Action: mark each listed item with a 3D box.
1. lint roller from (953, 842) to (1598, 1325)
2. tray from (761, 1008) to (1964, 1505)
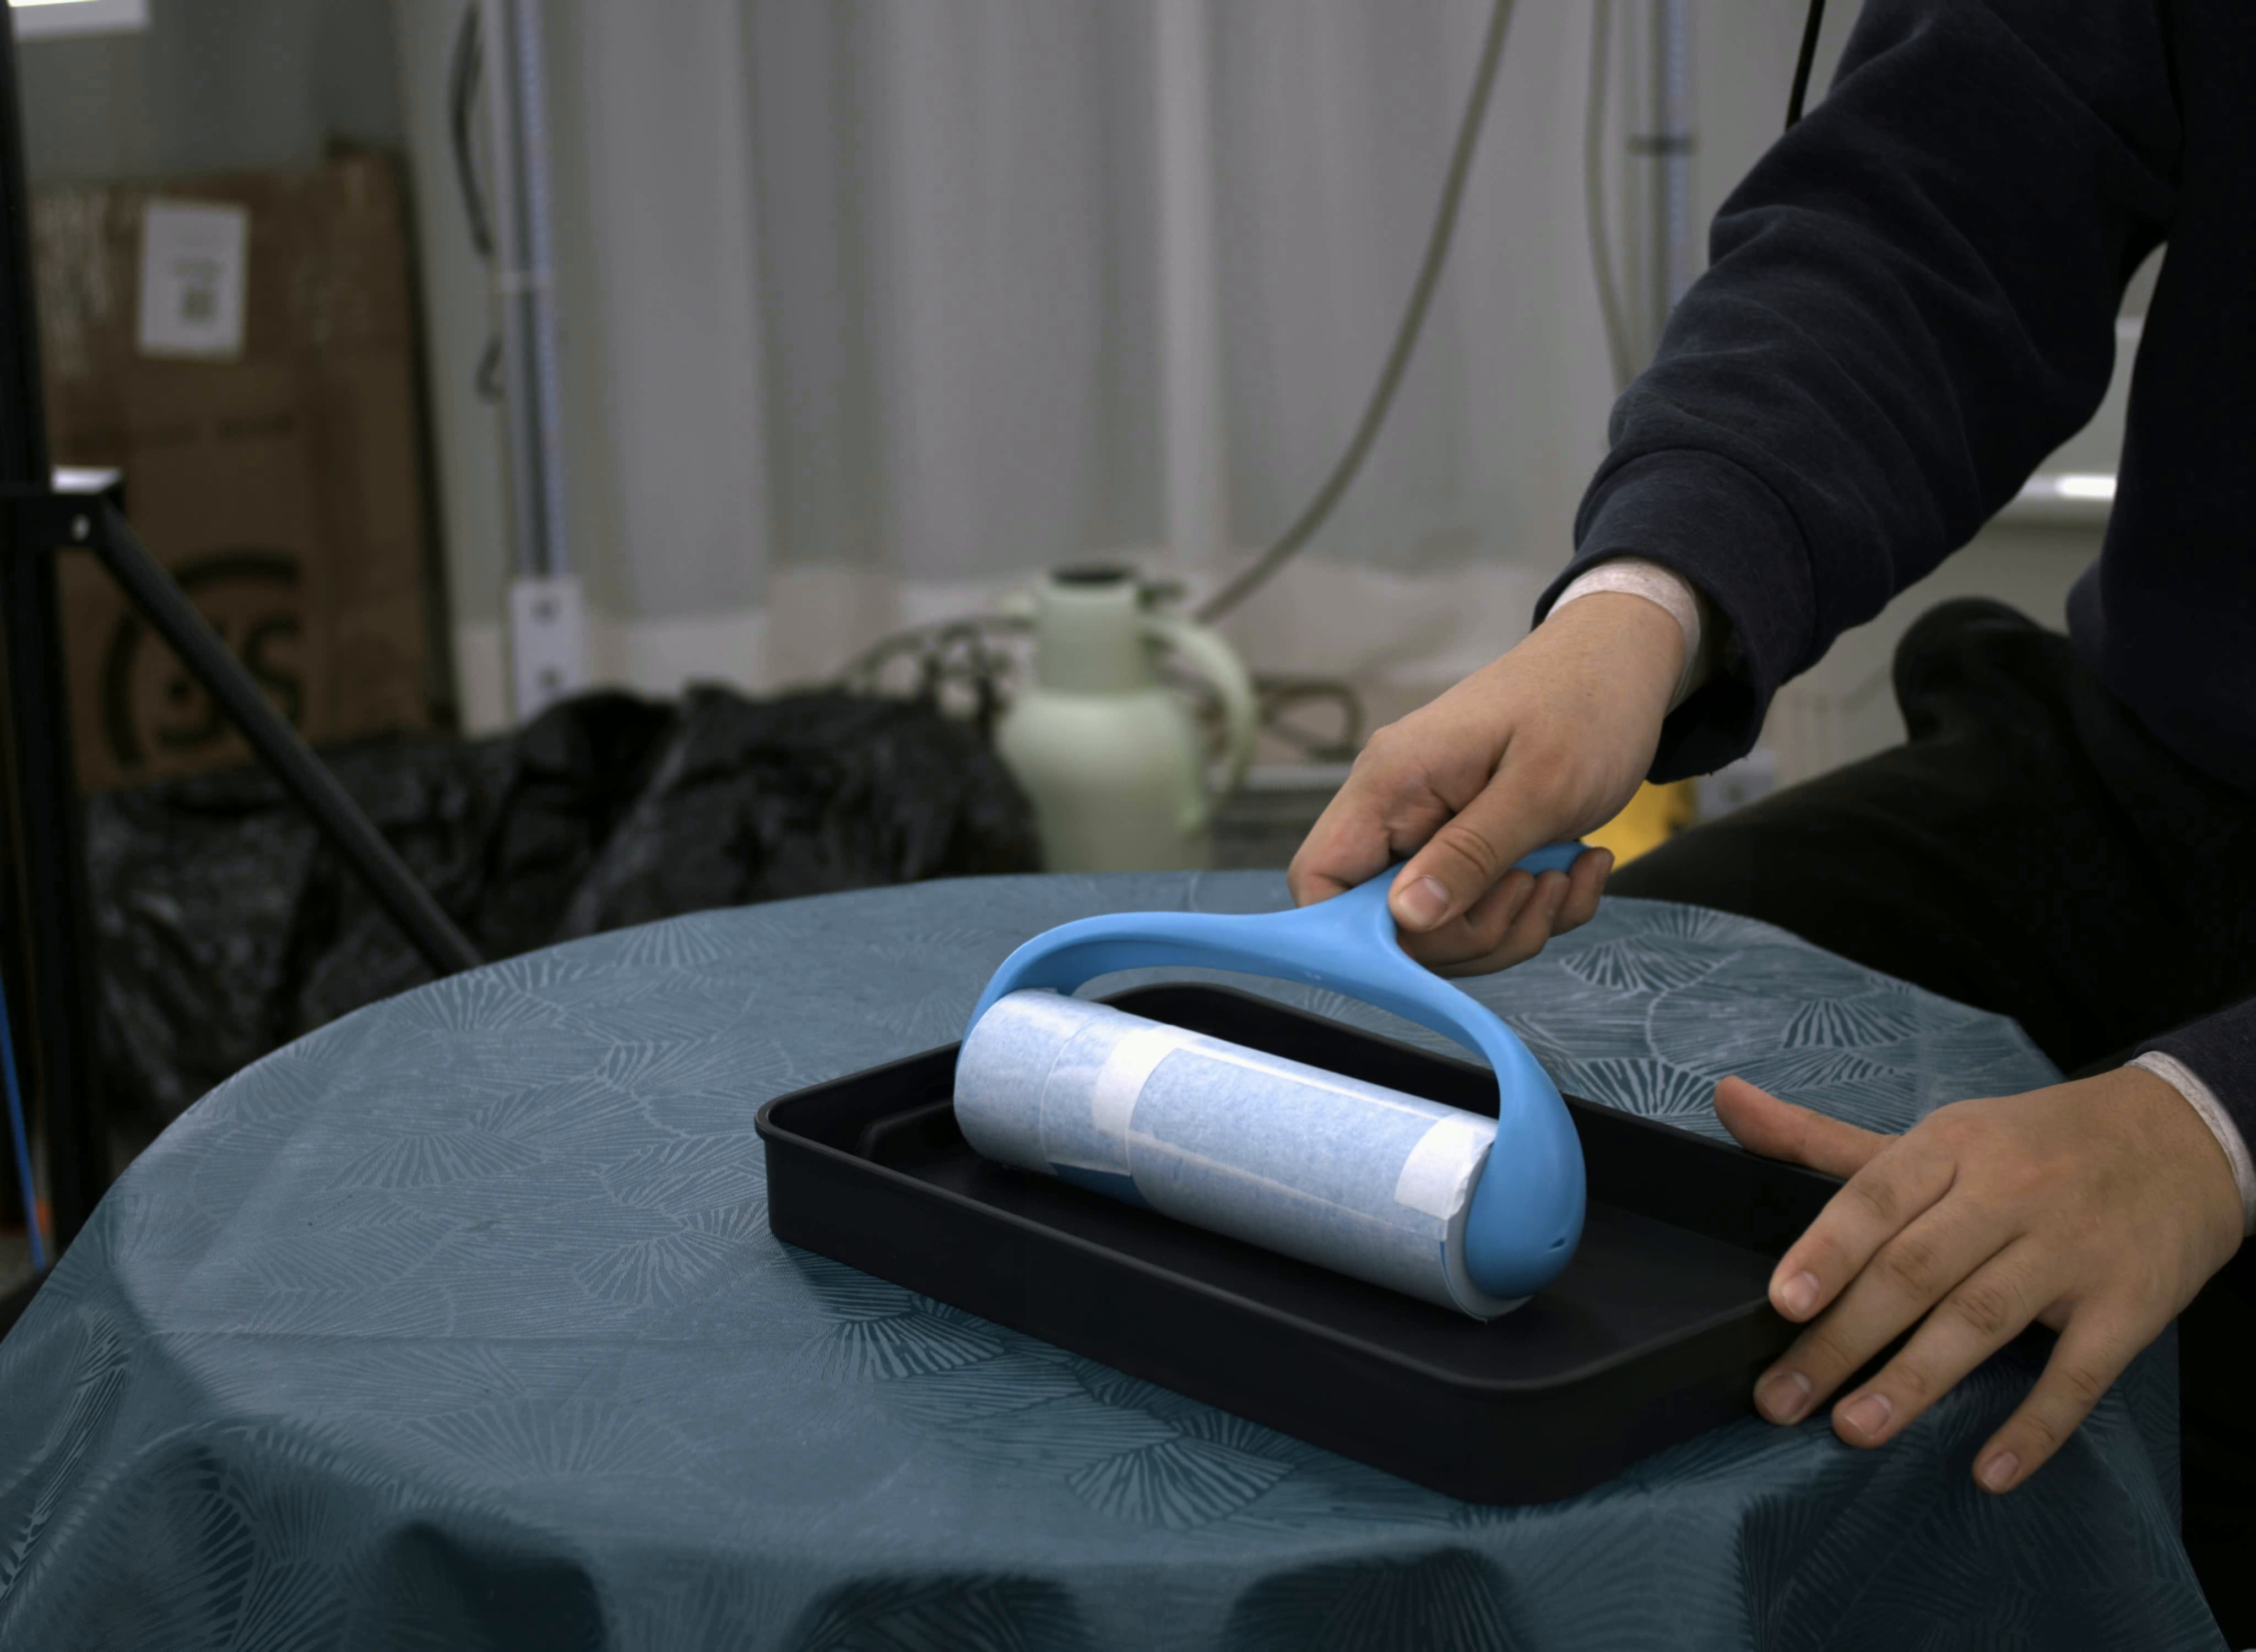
[{"bbox_3d":[0.069,0.051,1.522,0.234,0.067,0.179,10,51,44],"label":"lint roller"},{"bbox_3d":[0.060,0.113,1.473,0.180,0.037,0.325,-16,19,-39],"label":"tray"}]
